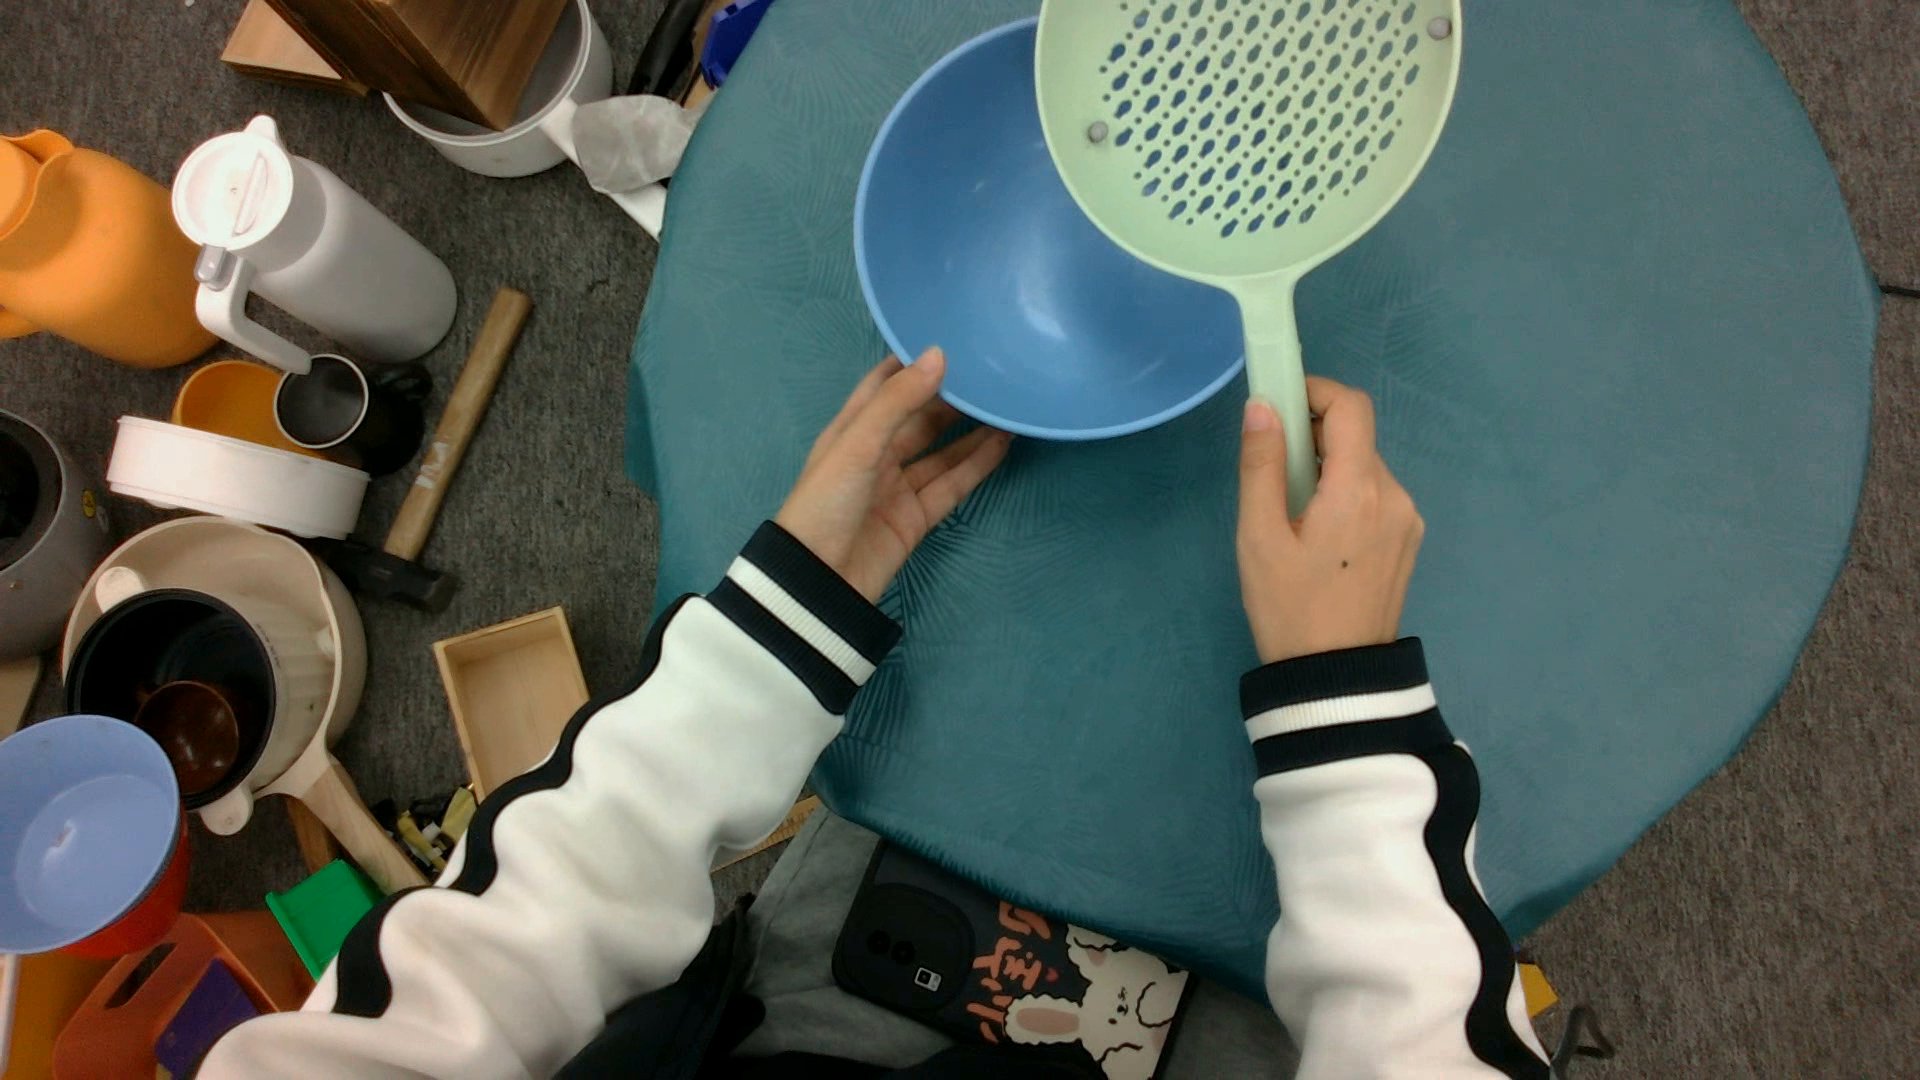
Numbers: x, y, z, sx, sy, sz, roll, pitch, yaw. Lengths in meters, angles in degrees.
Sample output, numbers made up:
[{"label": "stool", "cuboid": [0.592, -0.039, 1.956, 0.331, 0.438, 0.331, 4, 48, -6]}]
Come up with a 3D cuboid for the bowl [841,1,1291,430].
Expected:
[{"label": "bowl", "cuboid": [0.048, -0.137, 0.646, 0.196, 0.095, 0.197, -1, 80, 3]}]

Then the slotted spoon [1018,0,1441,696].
[{"label": "slotted spoon", "cuboid": [0.124, -0.102, 0.575, 0.169, 0.075, 0.358, -4, 96, 28]}]
